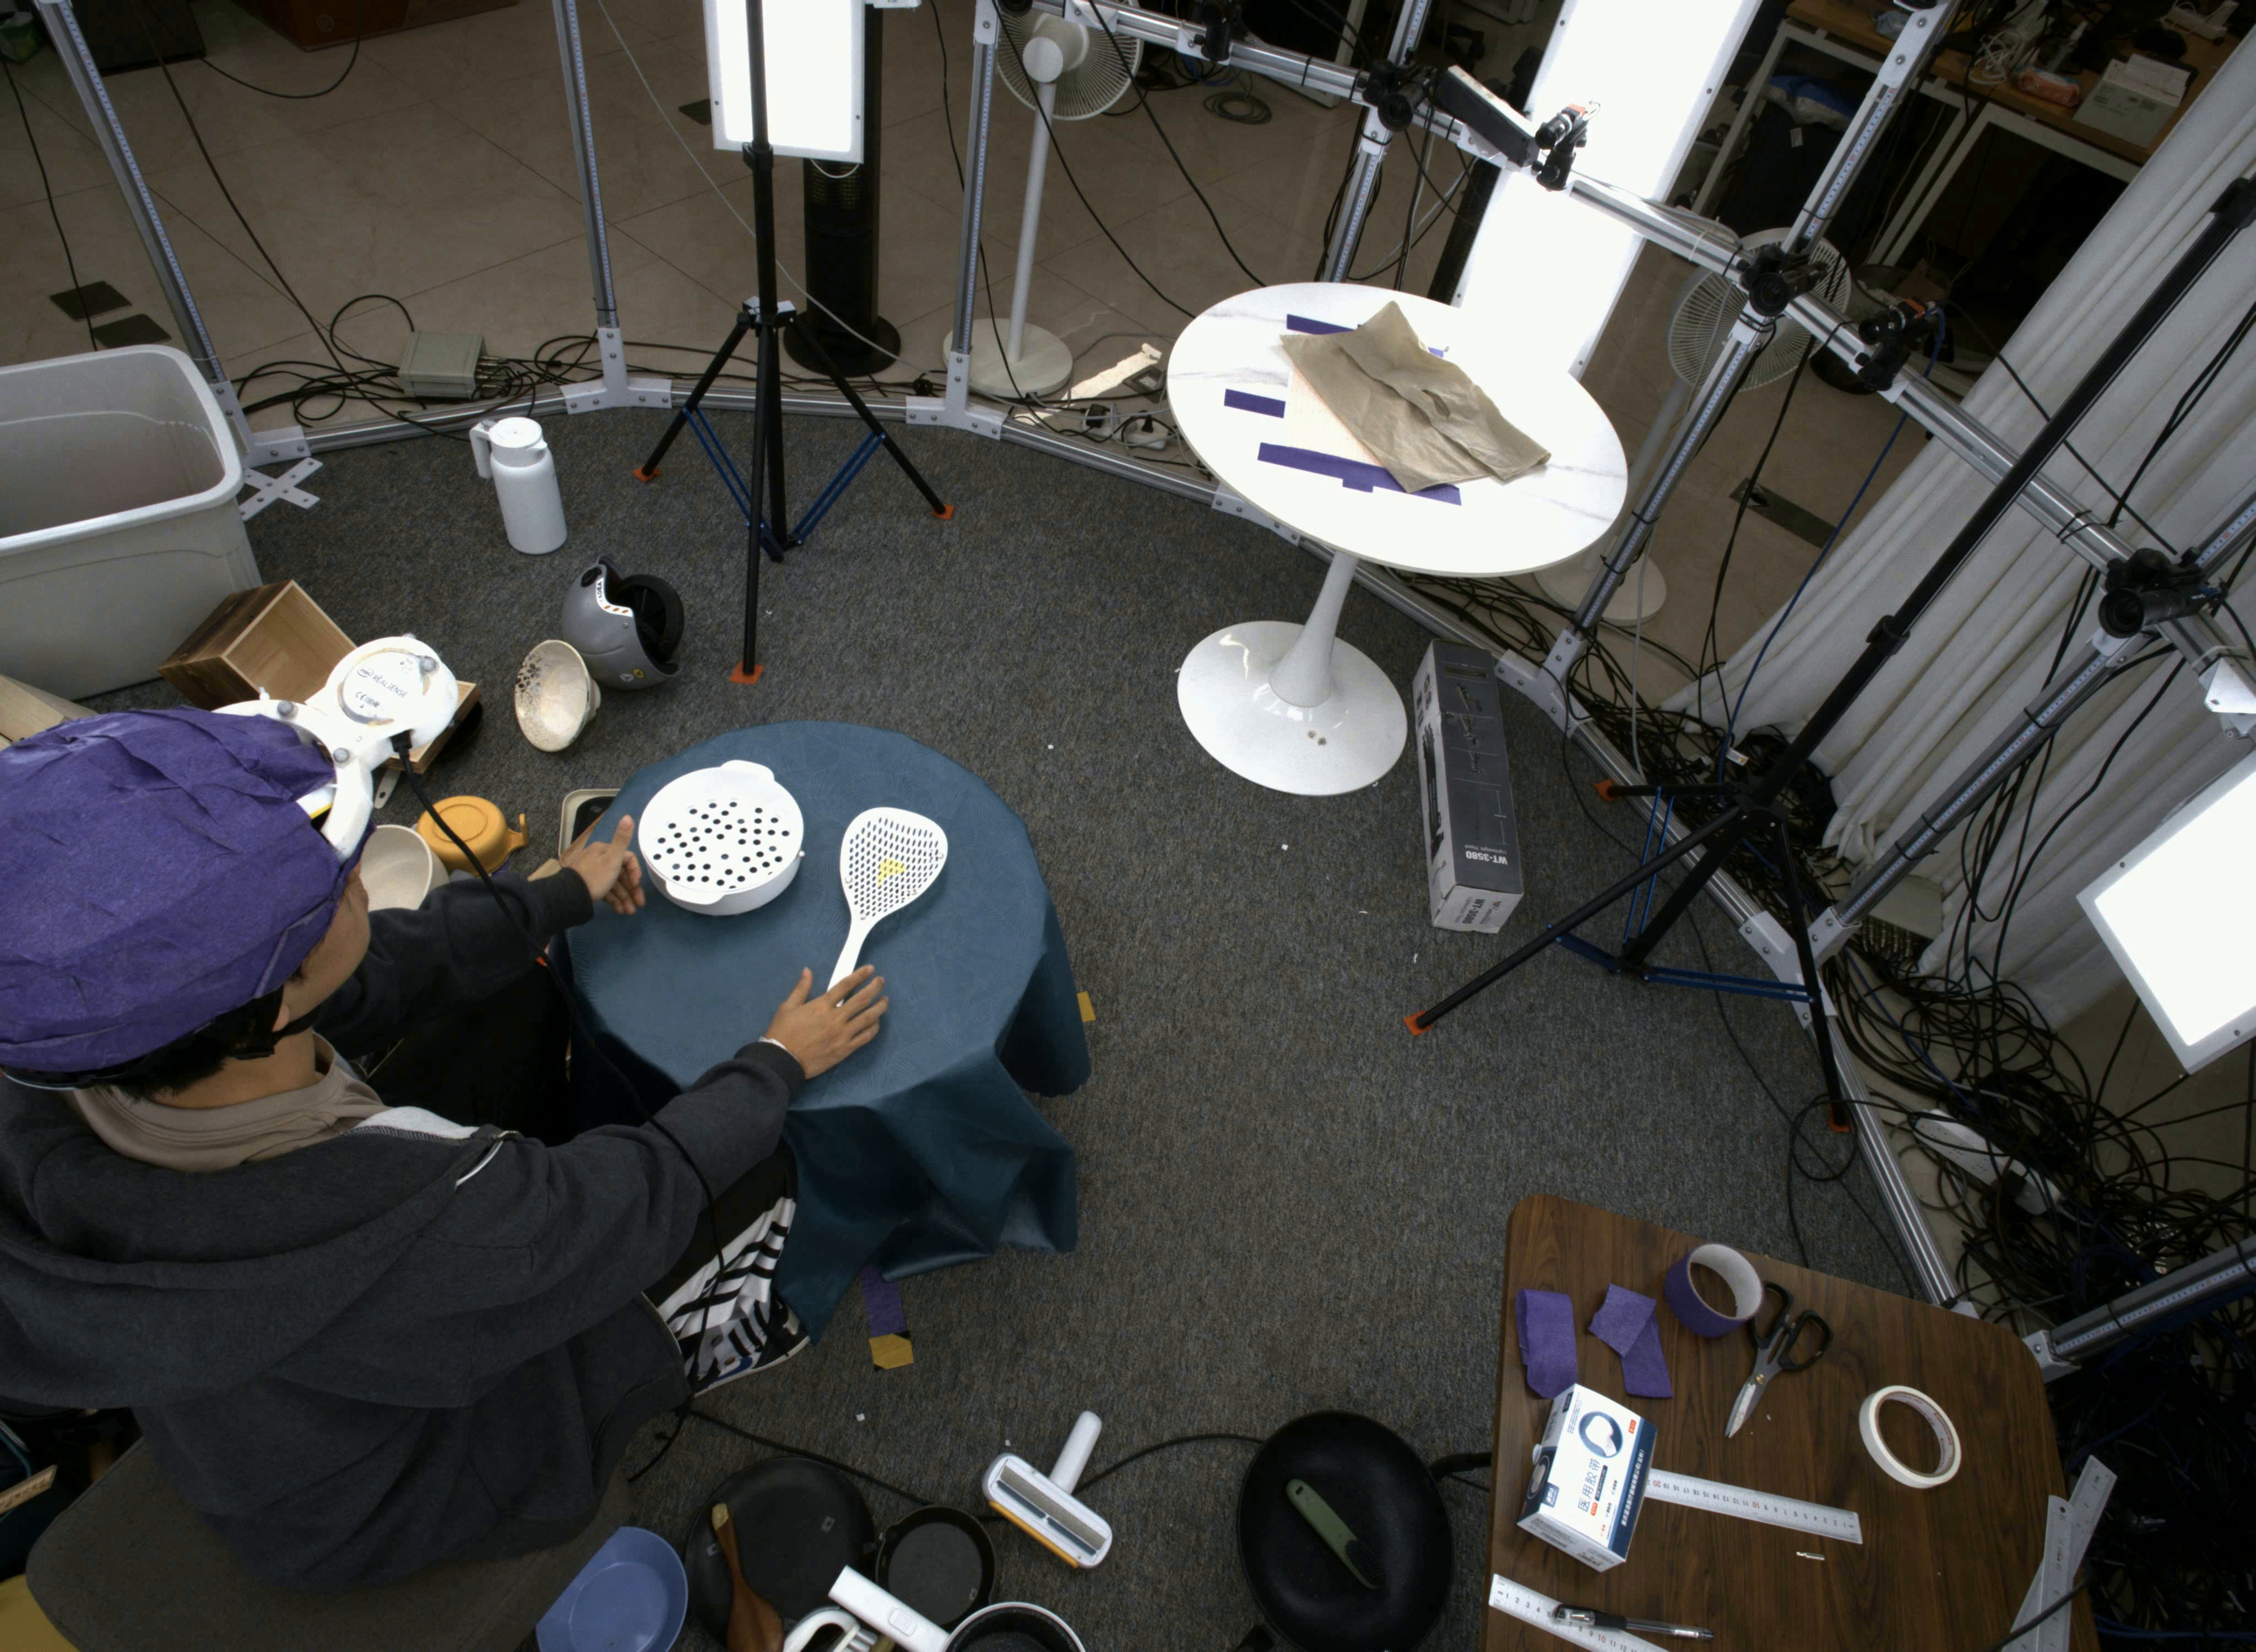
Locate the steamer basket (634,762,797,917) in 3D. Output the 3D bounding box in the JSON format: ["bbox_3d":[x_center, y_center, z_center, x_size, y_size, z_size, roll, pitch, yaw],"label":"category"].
[{"bbox_3d":[-0.523,0.021,1.644,0.201,0.071,0.227,13,49,-4],"label":"steamer basket"}]

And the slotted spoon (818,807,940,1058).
[{"bbox_3d":[-0.337,0.124,1.633,0.136,0.051,0.343,17,52,-5],"label":"slotted spoon"}]
